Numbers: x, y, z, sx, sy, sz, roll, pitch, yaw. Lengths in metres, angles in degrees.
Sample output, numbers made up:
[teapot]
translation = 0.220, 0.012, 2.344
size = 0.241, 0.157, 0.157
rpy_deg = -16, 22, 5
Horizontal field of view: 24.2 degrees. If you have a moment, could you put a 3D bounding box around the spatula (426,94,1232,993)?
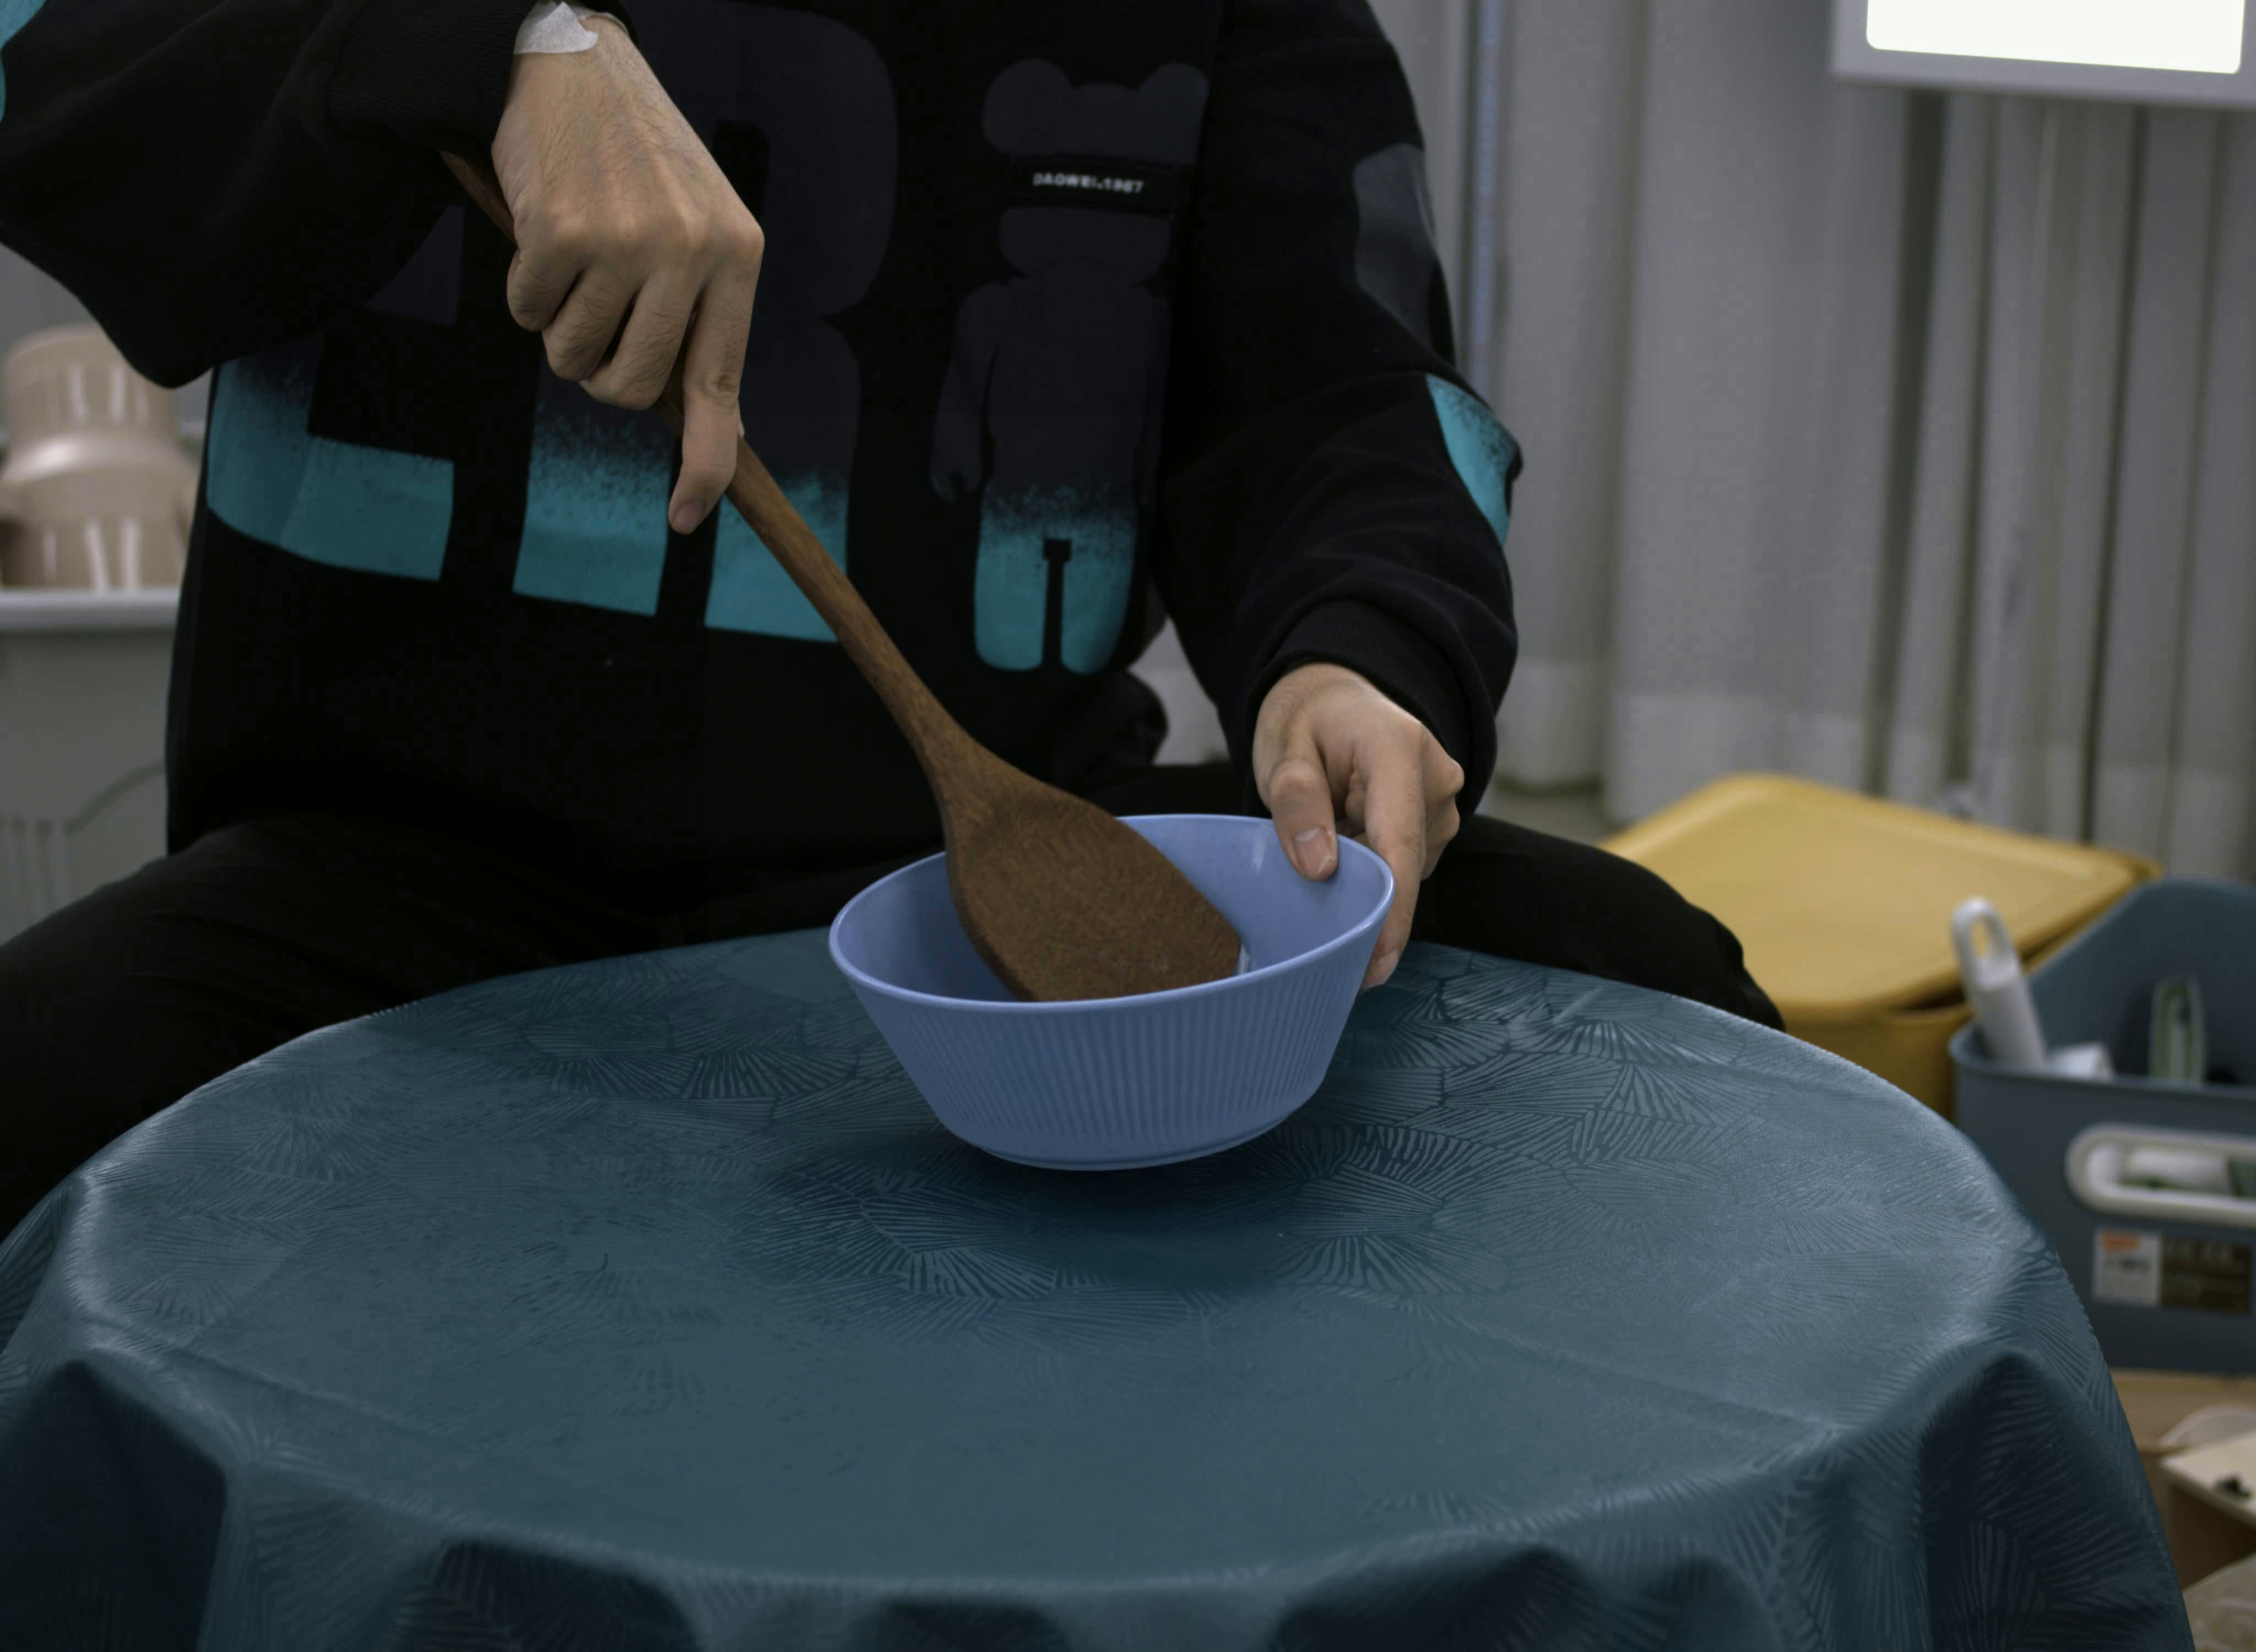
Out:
[spatula]
translation = -0.103, -0.085, 1.673
size = 0.016, 0.385, 0.096
rpy_deg = -41, -6, 41

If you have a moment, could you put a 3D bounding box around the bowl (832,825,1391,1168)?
[bowl]
translation = -0.002, 0.056, 1.641
size = 0.175, 0.071, 0.175
rpy_deg = -5, 17, 2
